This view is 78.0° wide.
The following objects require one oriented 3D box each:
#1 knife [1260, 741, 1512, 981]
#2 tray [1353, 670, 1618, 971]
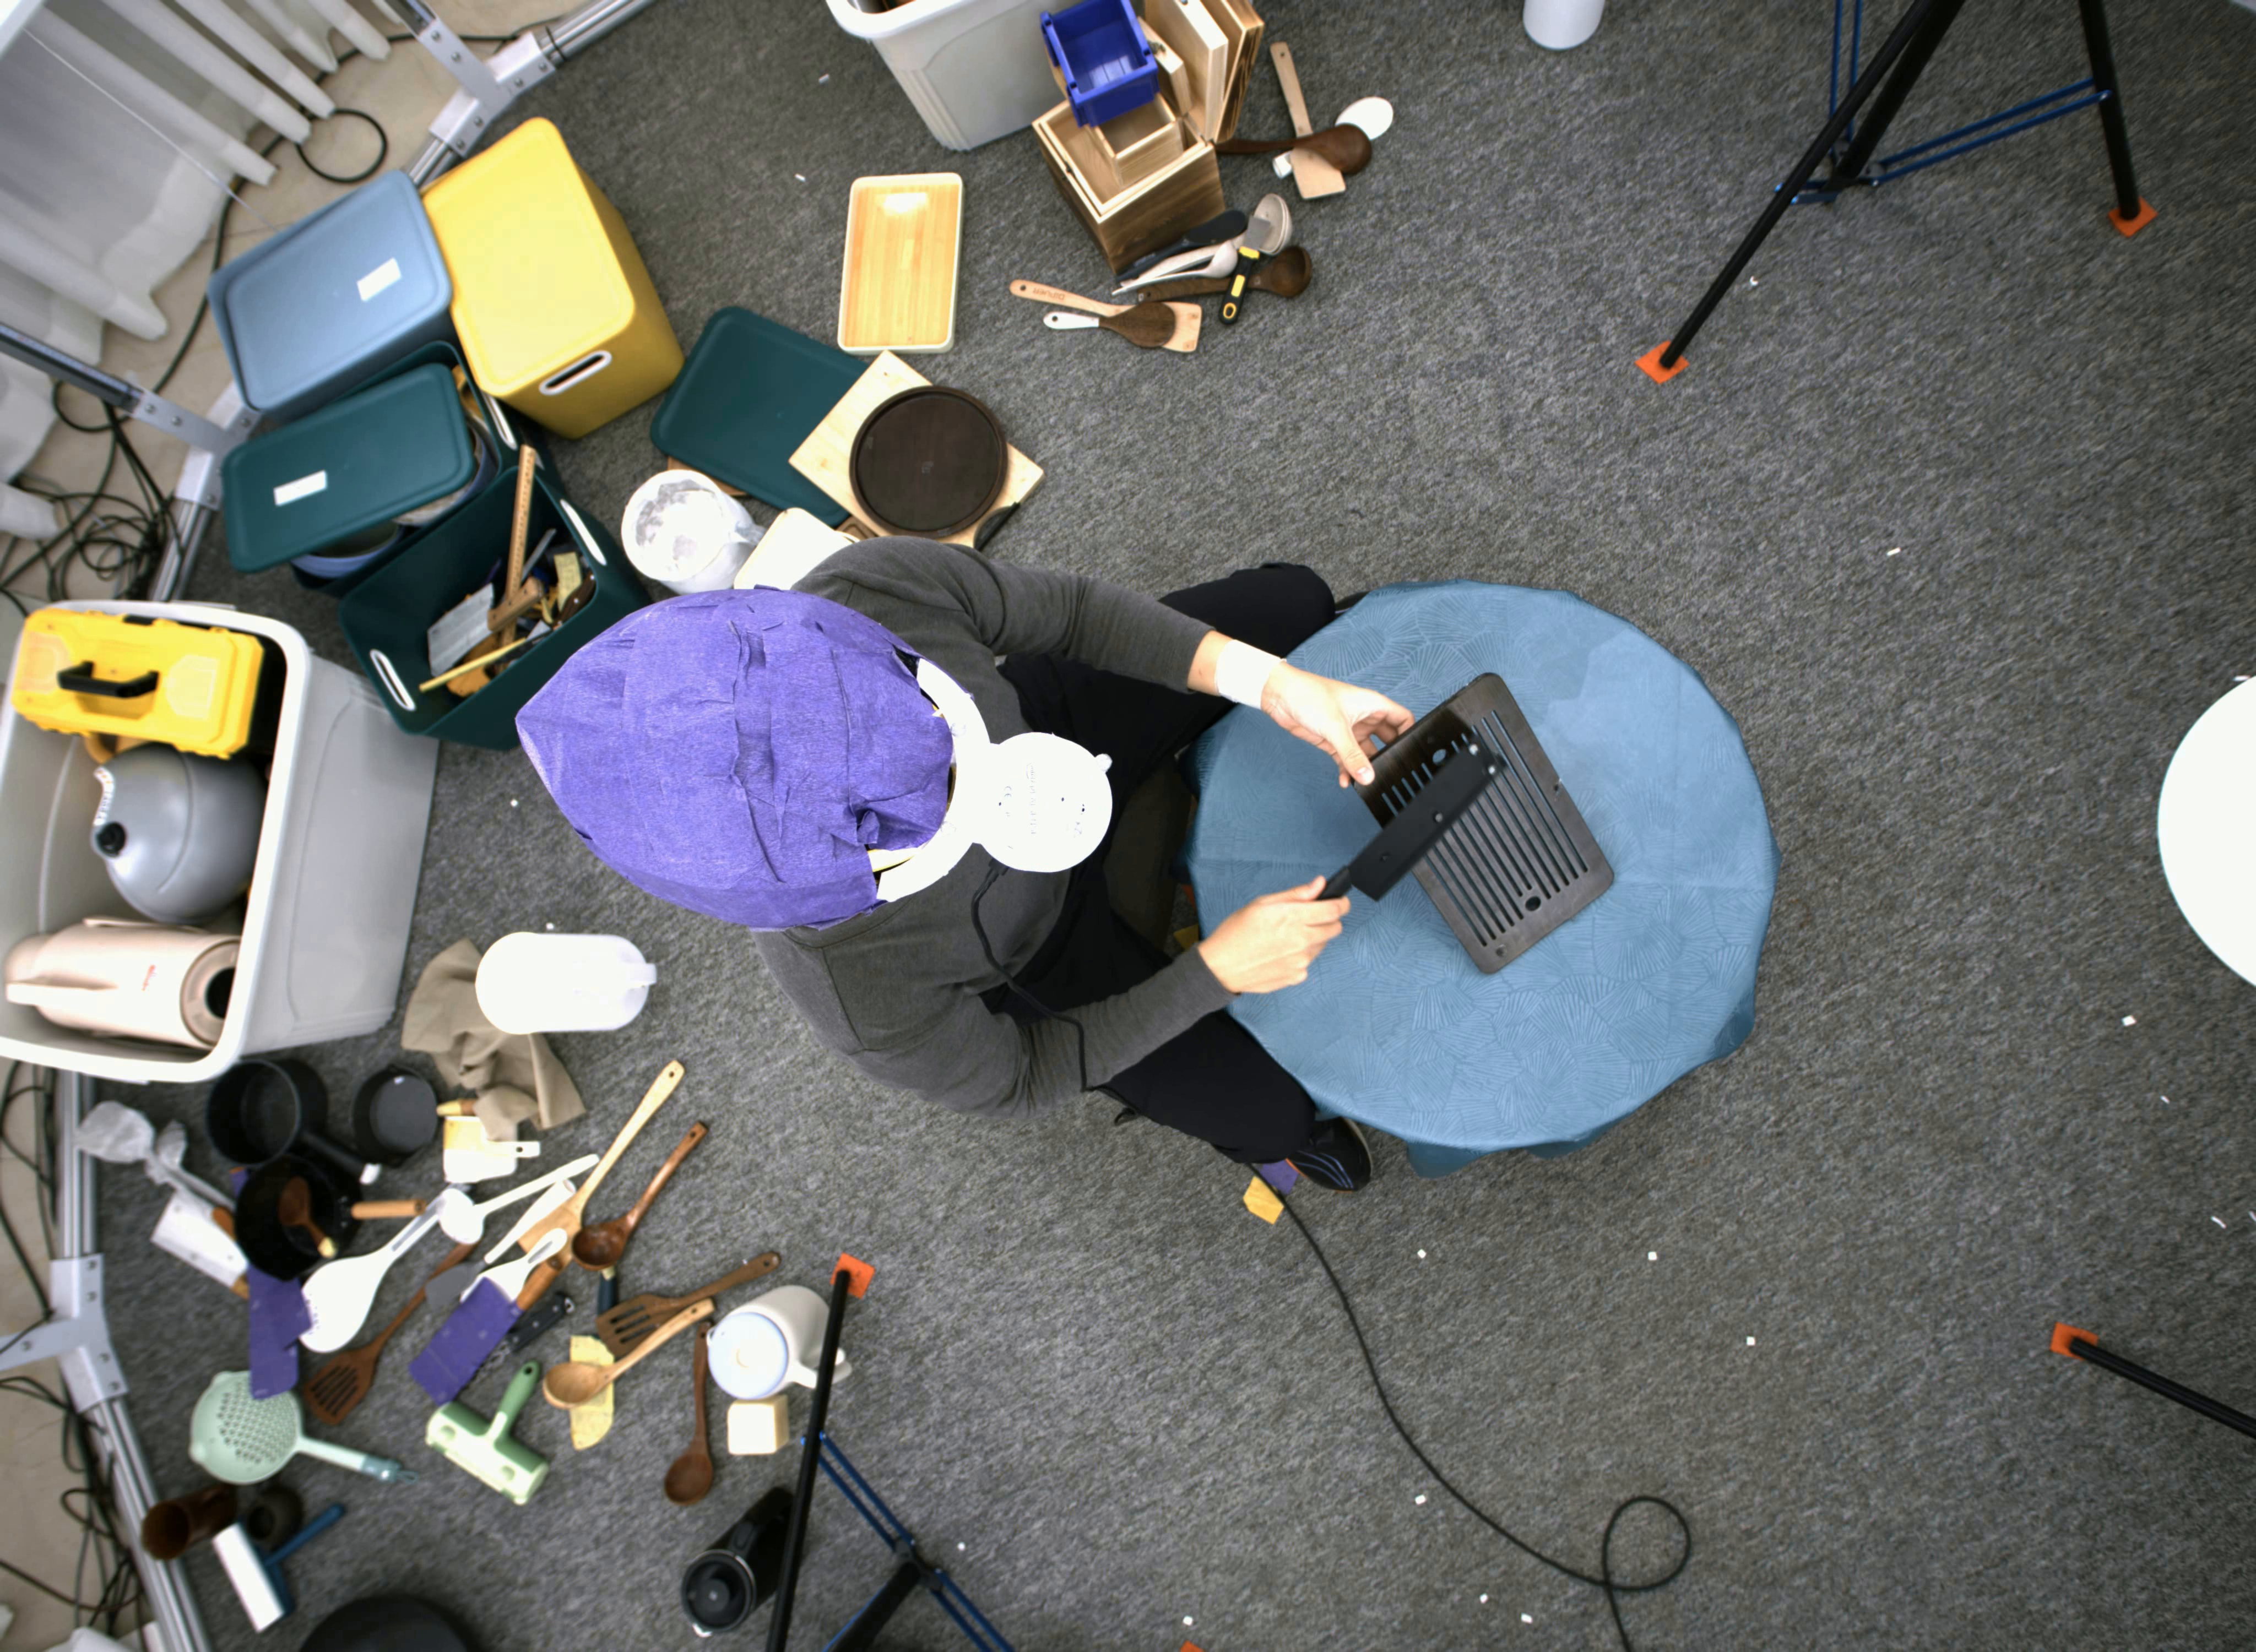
[{"bbox_3d":[0.238,0.038,1.296,0.305,0.082,0.020,-43,40,12],"label":"knife"},{"bbox_3d":[0.355,-0.001,1.346,0.171,0.018,0.310,-36,121,7],"label":"tray"}]
